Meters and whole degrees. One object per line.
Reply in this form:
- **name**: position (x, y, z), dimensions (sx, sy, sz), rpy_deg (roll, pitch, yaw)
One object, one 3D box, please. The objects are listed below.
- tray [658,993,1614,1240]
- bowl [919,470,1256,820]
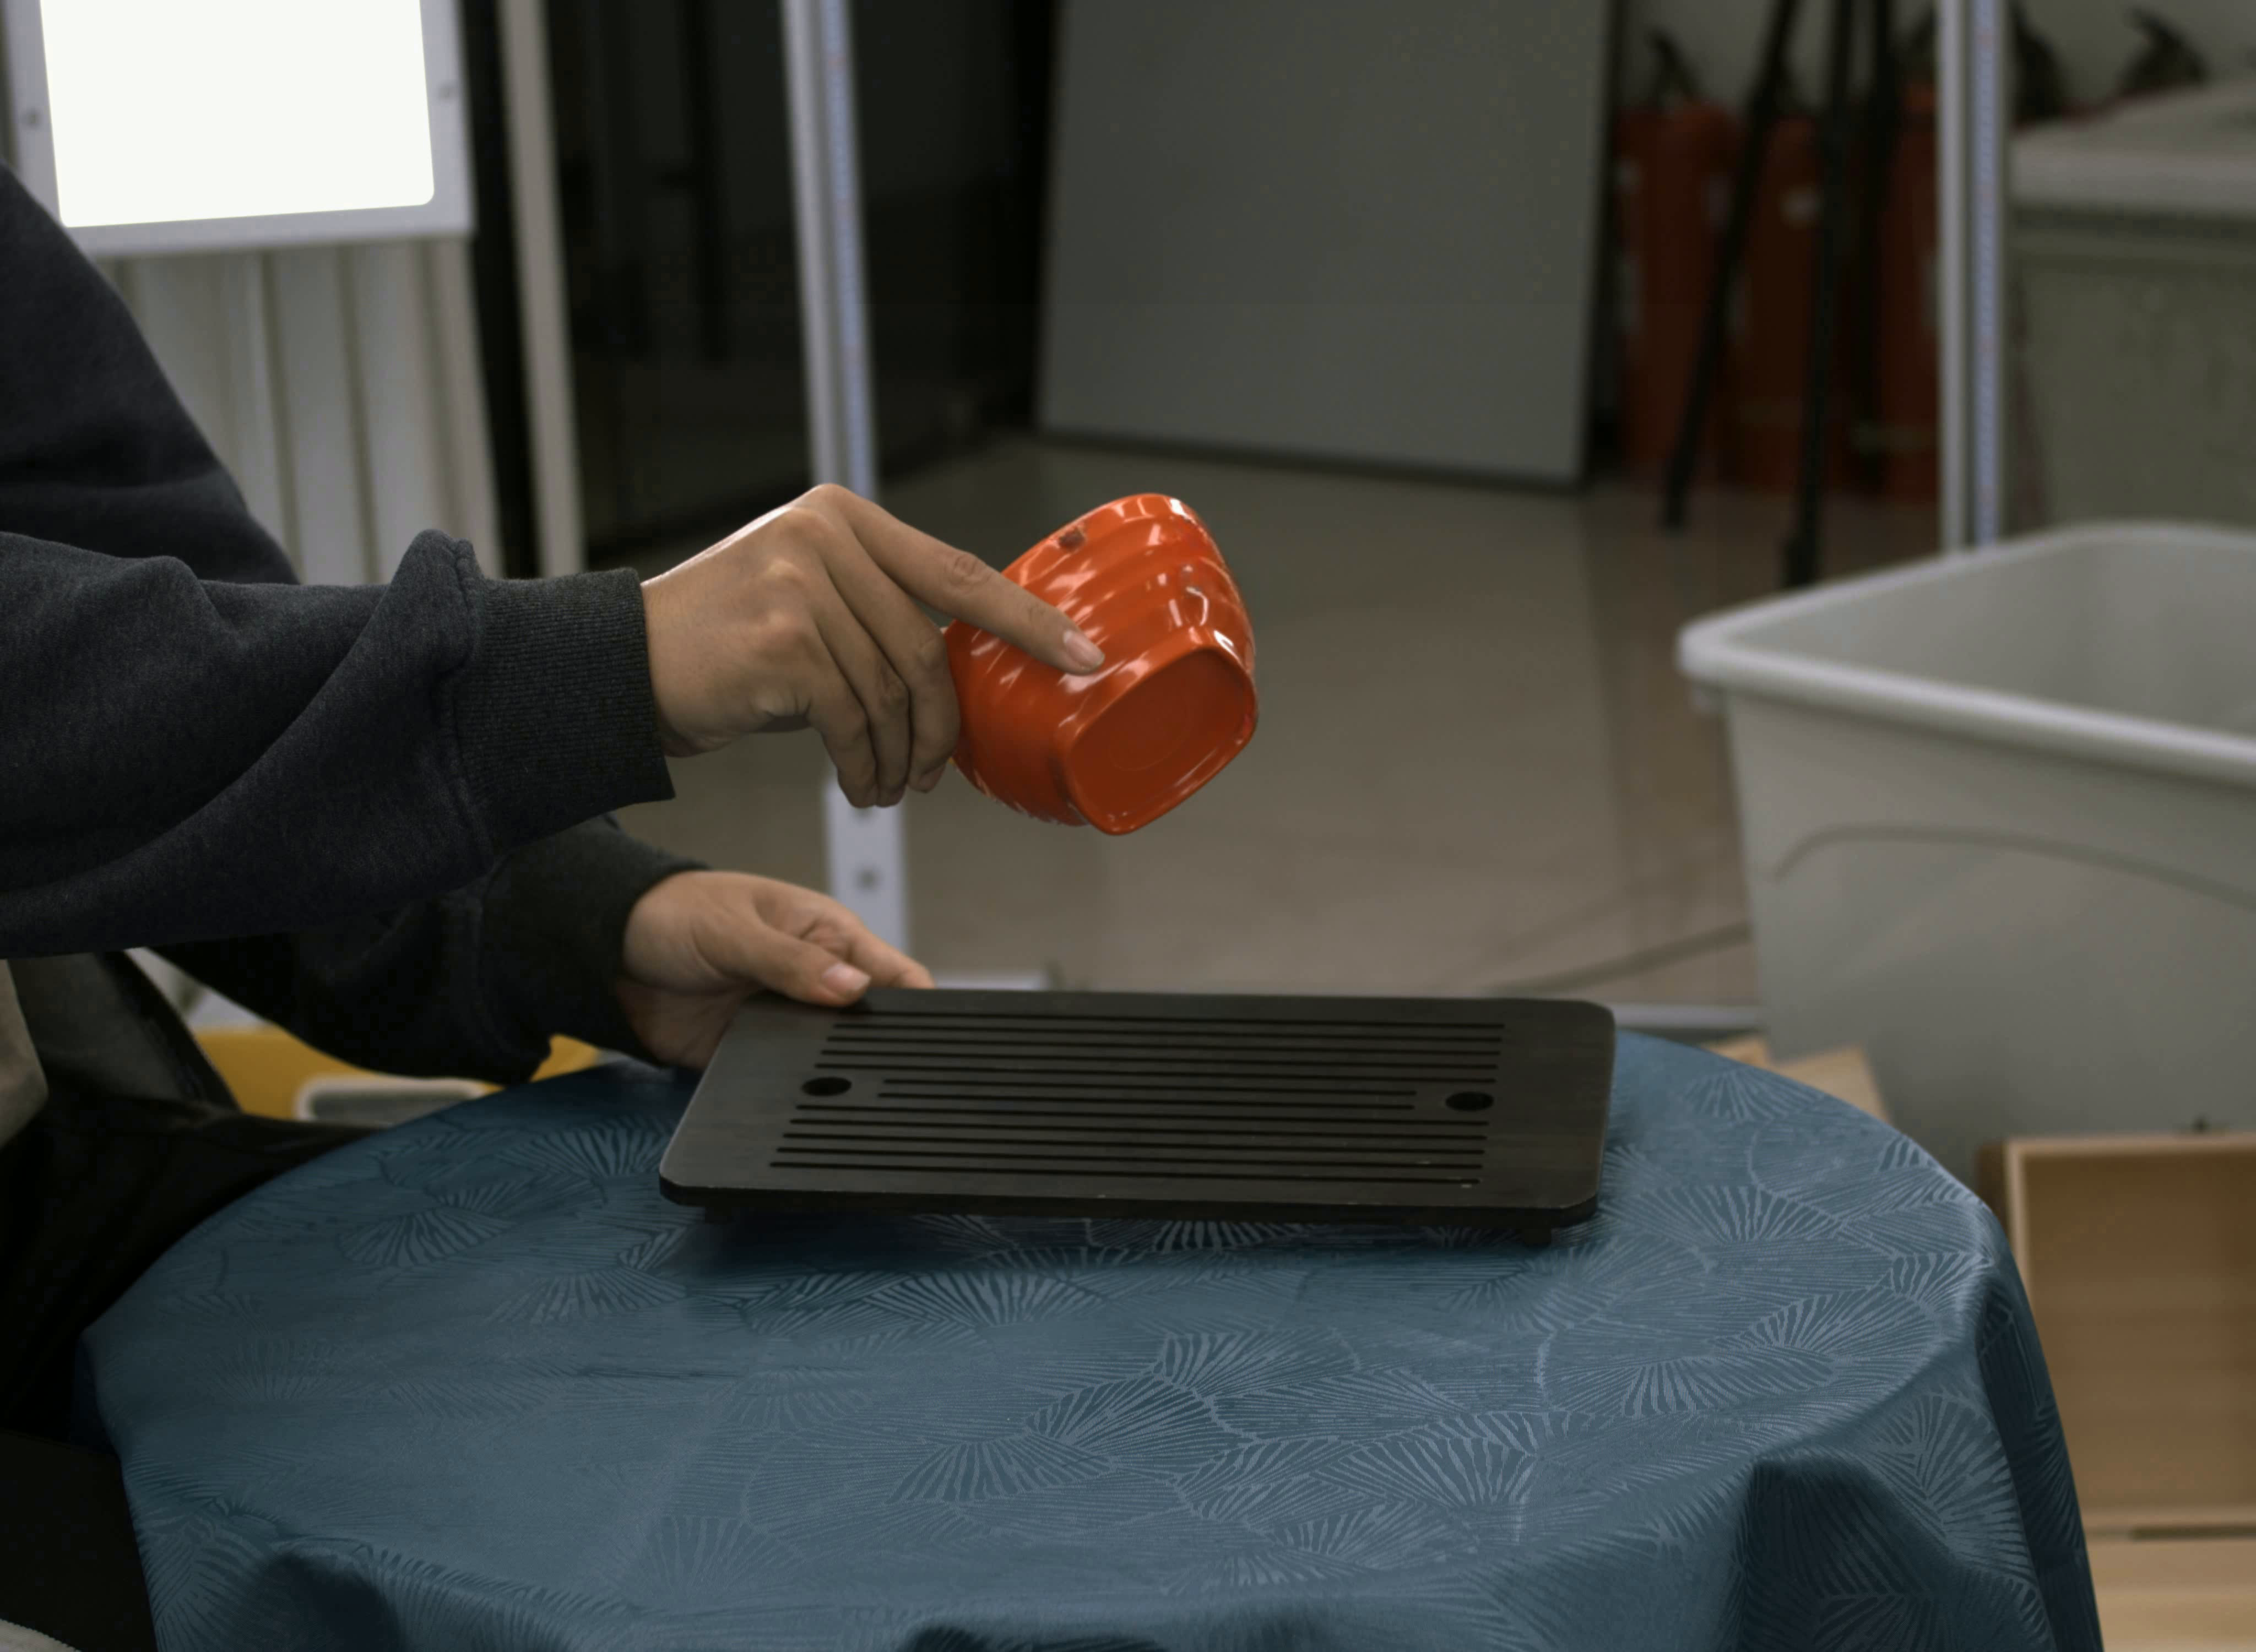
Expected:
- **tray**: position (0.007, 0.095, 1.779), dimensions (0.303, 0.019, 0.170), rpy_deg (0, 20, 9)
- **bowl**: position (-0.003, -0.046, 1.658), dimensions (0.116, 0.120, 0.052), rpy_deg (-12, 47, -34)
